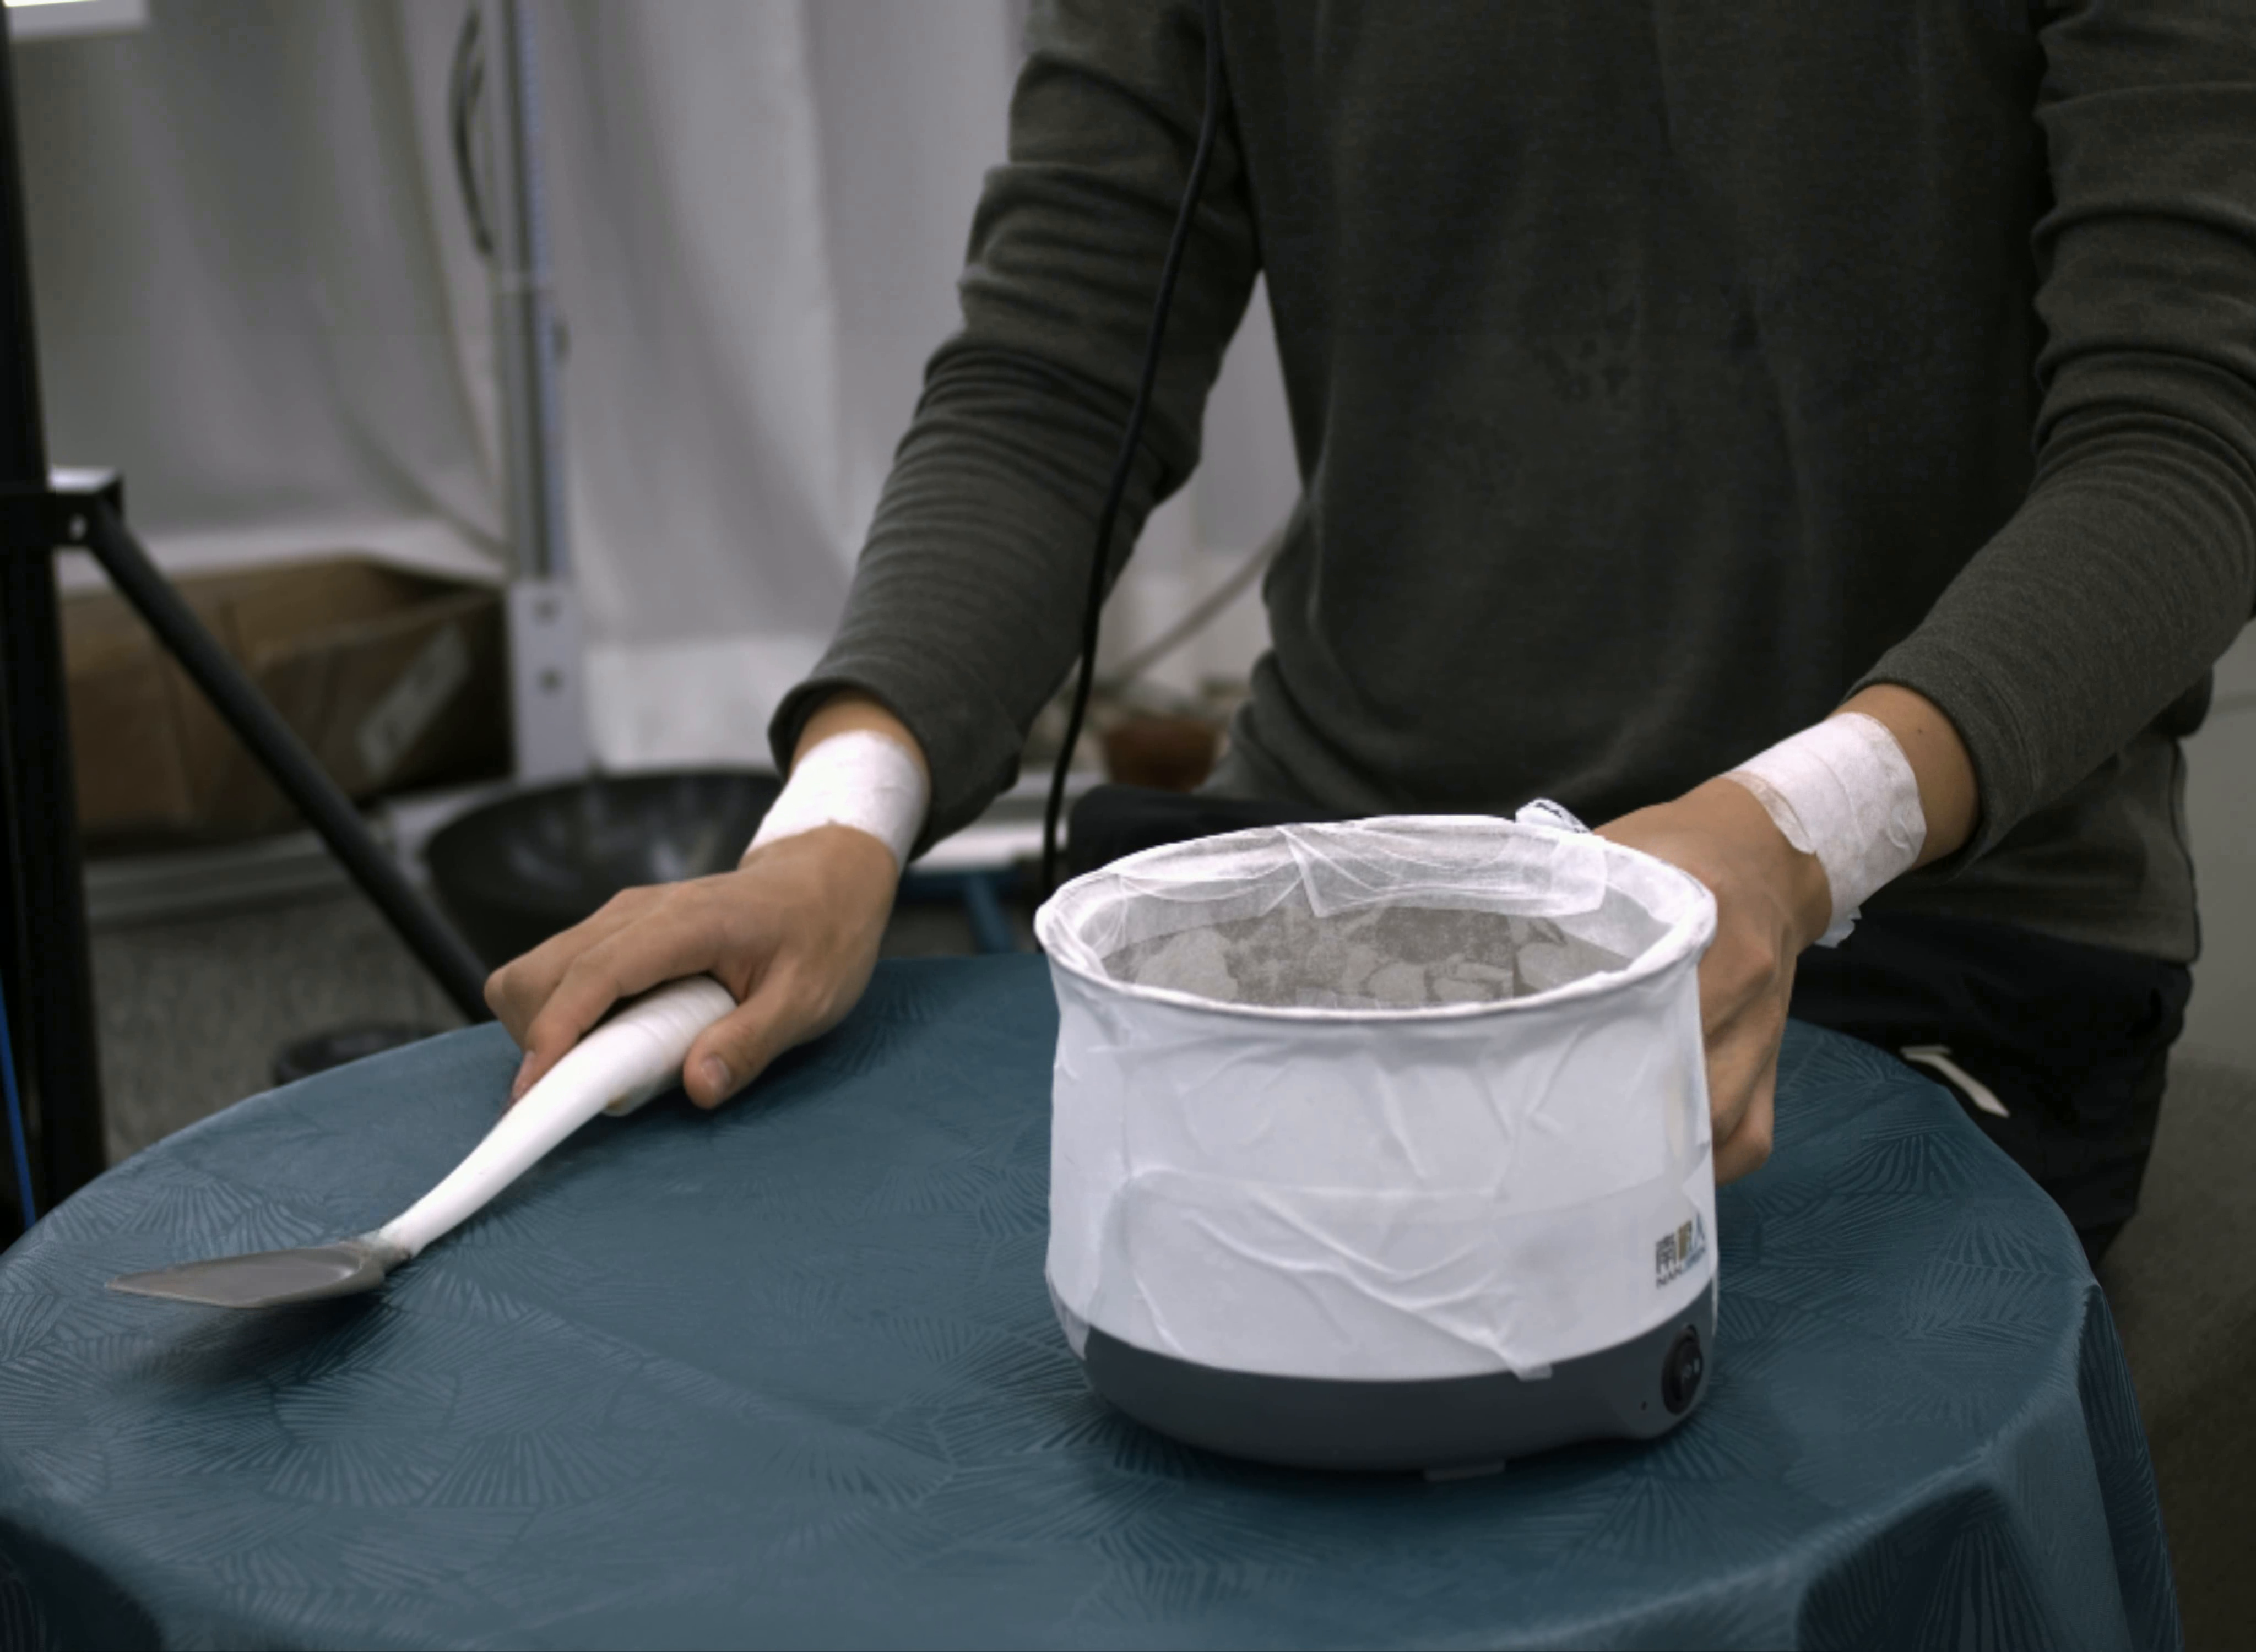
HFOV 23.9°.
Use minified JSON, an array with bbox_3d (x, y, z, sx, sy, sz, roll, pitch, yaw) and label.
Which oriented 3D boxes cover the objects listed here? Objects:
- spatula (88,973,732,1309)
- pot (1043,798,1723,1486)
[{"bbox_3d":[-0.199,0.099,1.562,0.059,0.032,0.283,9,19,24],"label":"spatula"},{"bbox_3d":[0.080,0.076,1.411,0.182,0.136,0.229,7,18,29],"label":"pot"}]
